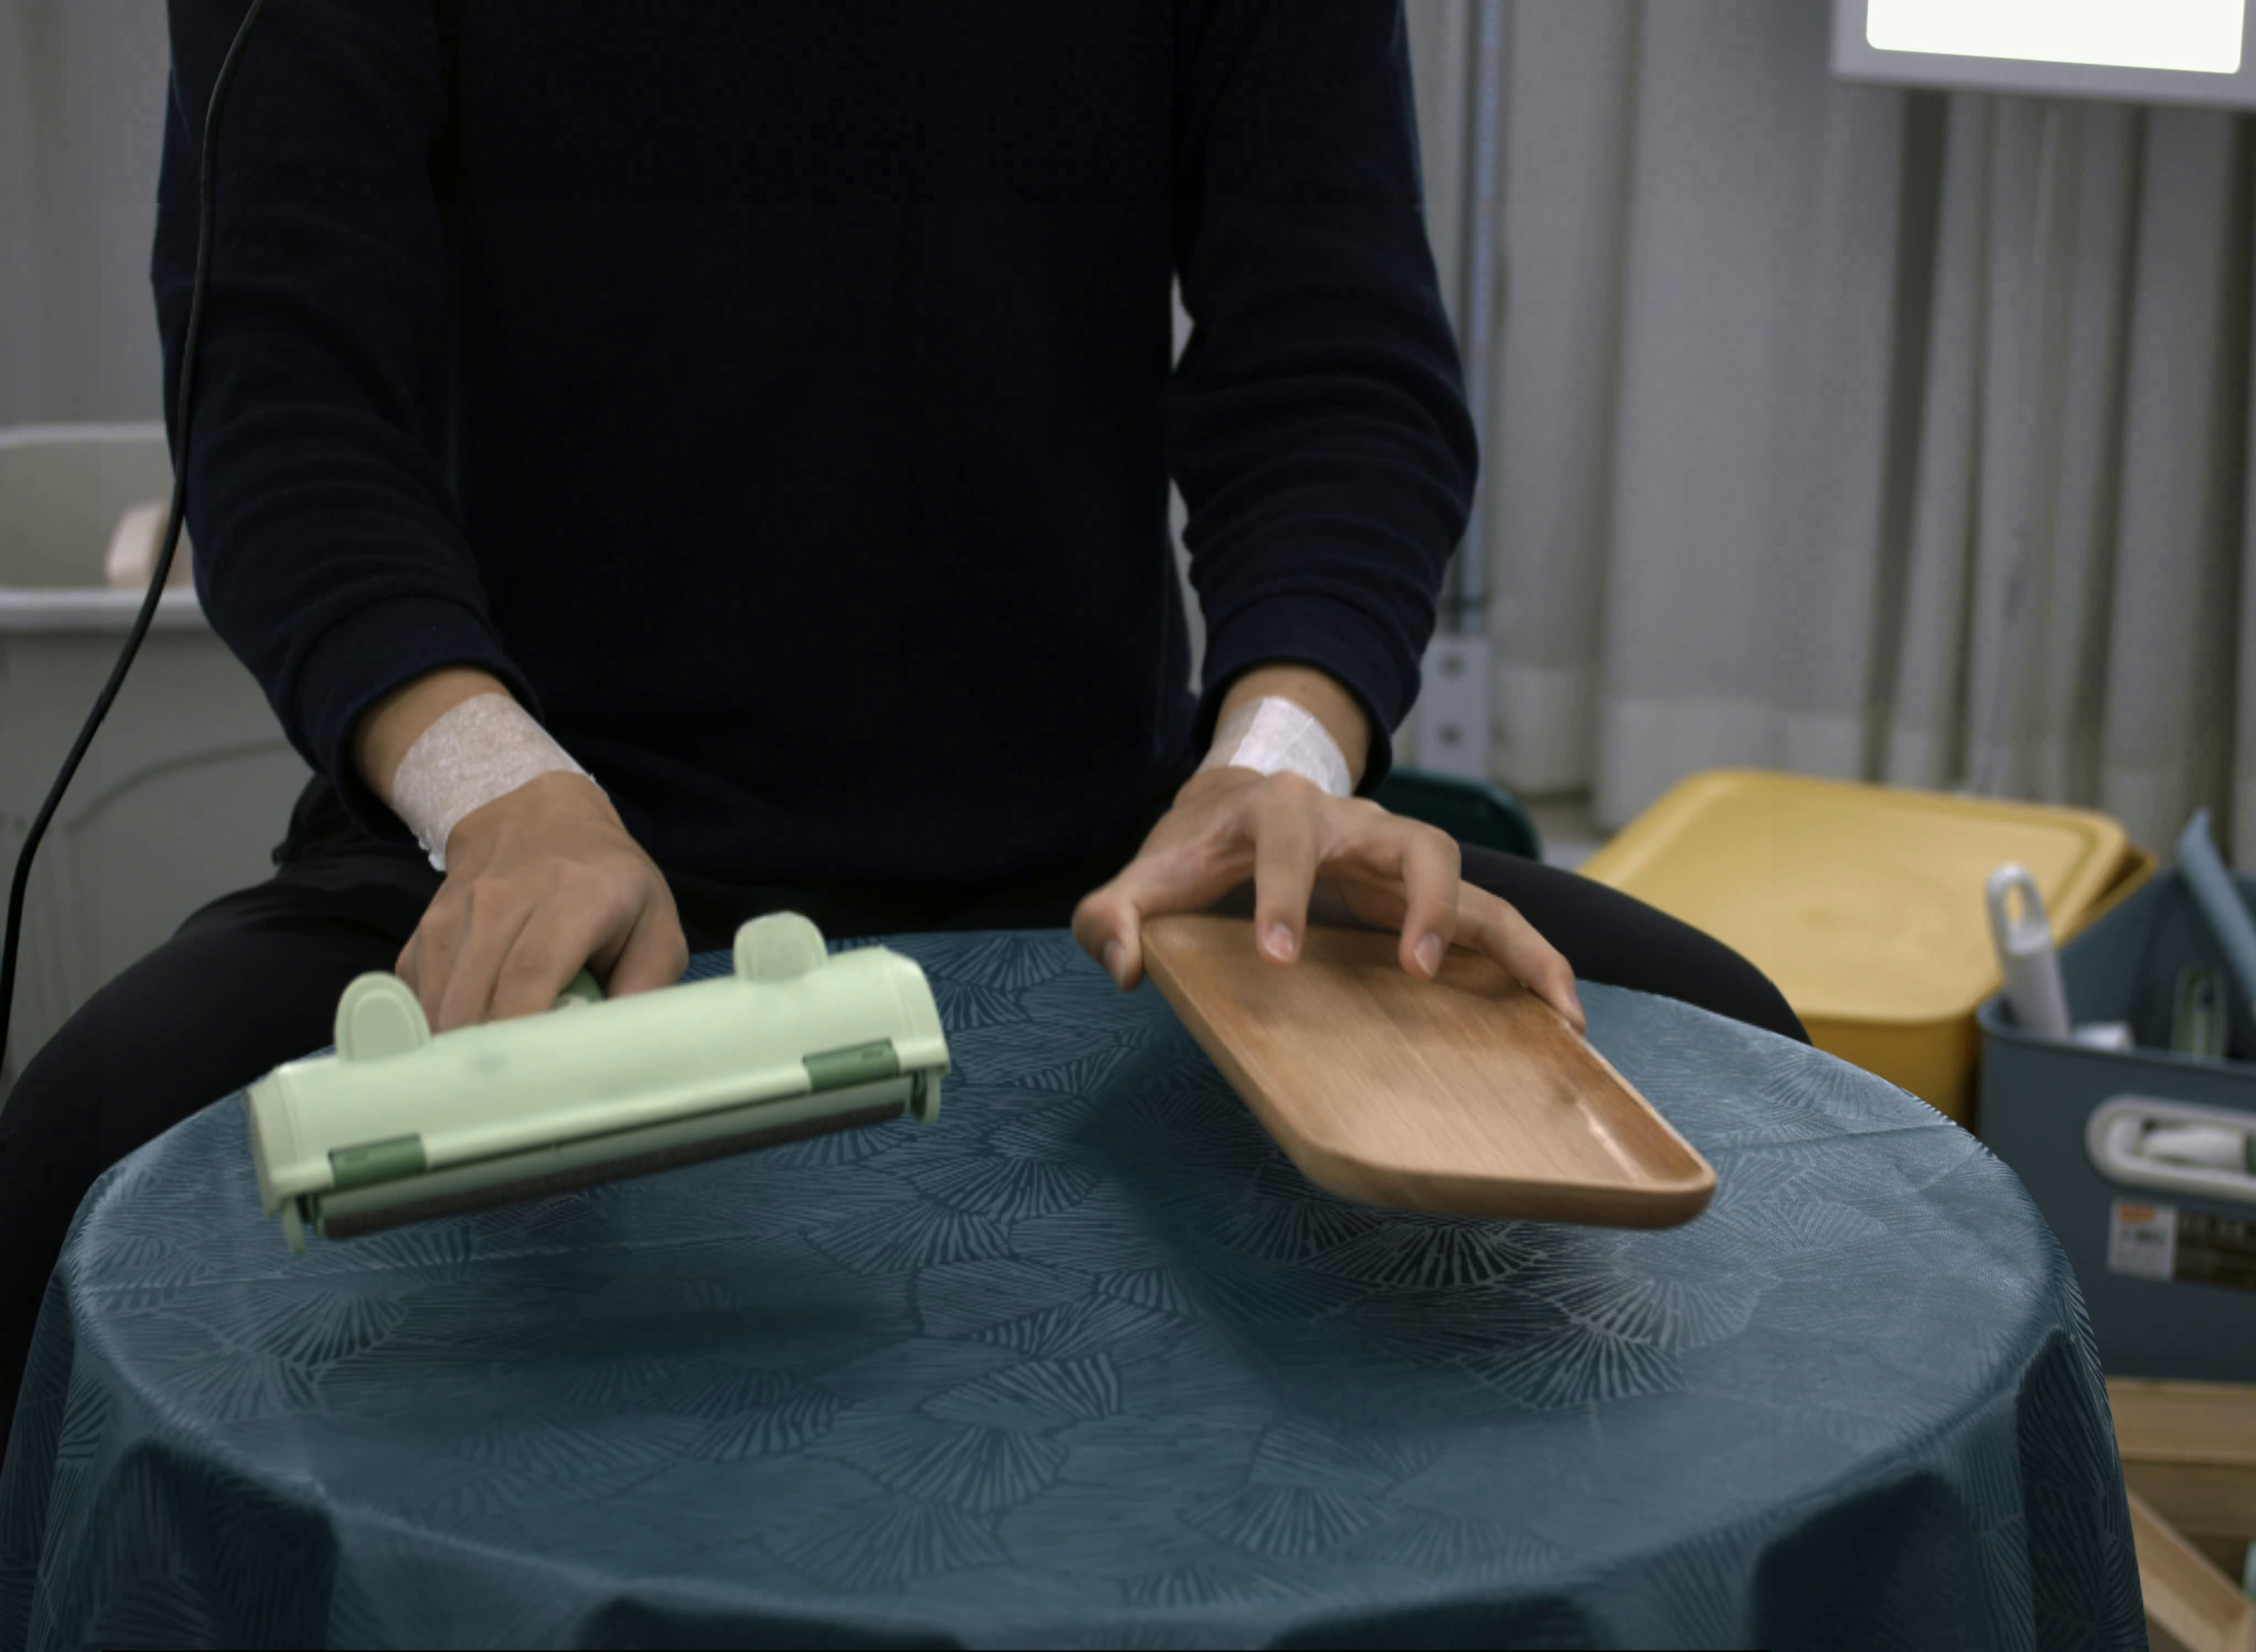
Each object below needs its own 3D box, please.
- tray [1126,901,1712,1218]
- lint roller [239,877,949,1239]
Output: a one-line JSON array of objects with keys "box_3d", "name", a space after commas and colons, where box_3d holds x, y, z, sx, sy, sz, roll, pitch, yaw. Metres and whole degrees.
[{"box_3d": [0.082, 0.068, 1.579, 0.131, 0.023, 0.248, 9, 12, -15], "name": "tray"}, {"box_3d": [-0.167, 0.044, 1.534, 0.199, 0.083, 0.181, -11, 28, -14], "name": "lint roller"}]
